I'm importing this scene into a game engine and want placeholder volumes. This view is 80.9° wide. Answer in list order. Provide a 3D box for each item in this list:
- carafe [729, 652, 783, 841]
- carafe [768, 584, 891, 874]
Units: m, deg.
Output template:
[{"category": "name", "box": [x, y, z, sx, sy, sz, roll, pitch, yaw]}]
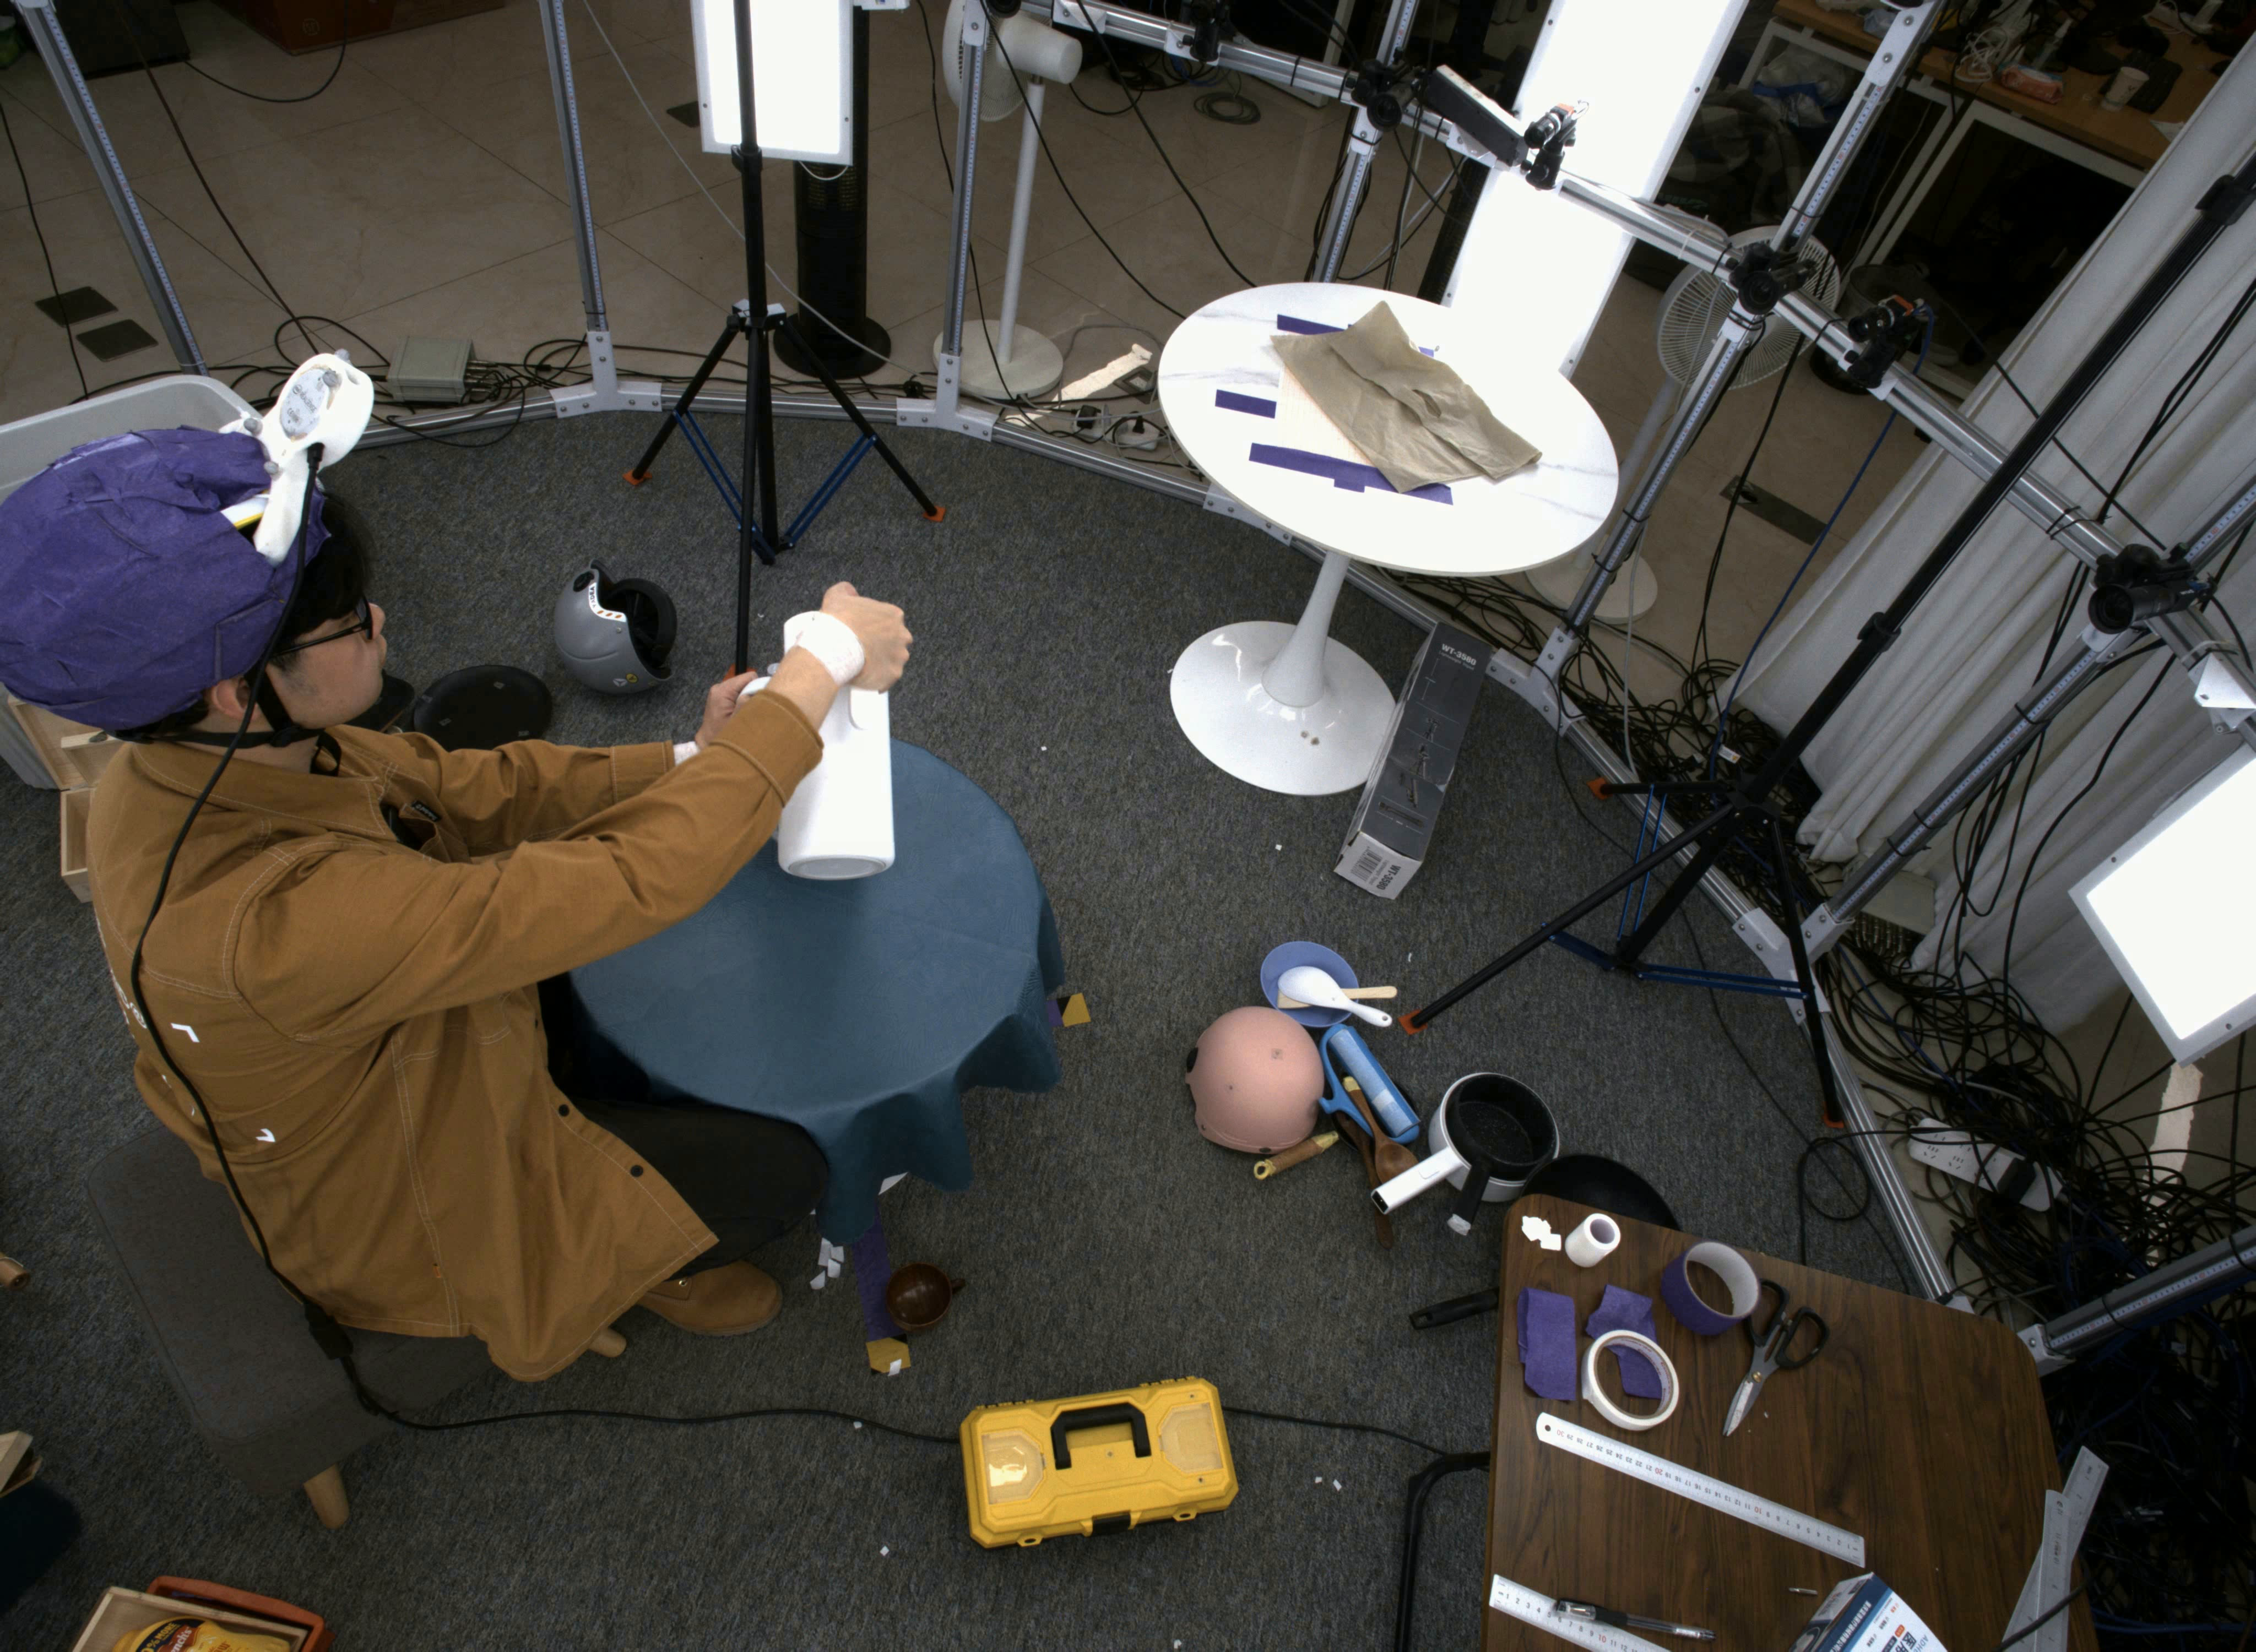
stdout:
[{"category": "carafe", "box": [-0.403, -0.102, 1.573, 0.166, 0.253, 0.131, 17, 49, -1]}, {"category": "carafe", "box": [-0.299, -0.099, 1.318, 0.126, 0.170, 0.268, 5, 72, -30]}]
